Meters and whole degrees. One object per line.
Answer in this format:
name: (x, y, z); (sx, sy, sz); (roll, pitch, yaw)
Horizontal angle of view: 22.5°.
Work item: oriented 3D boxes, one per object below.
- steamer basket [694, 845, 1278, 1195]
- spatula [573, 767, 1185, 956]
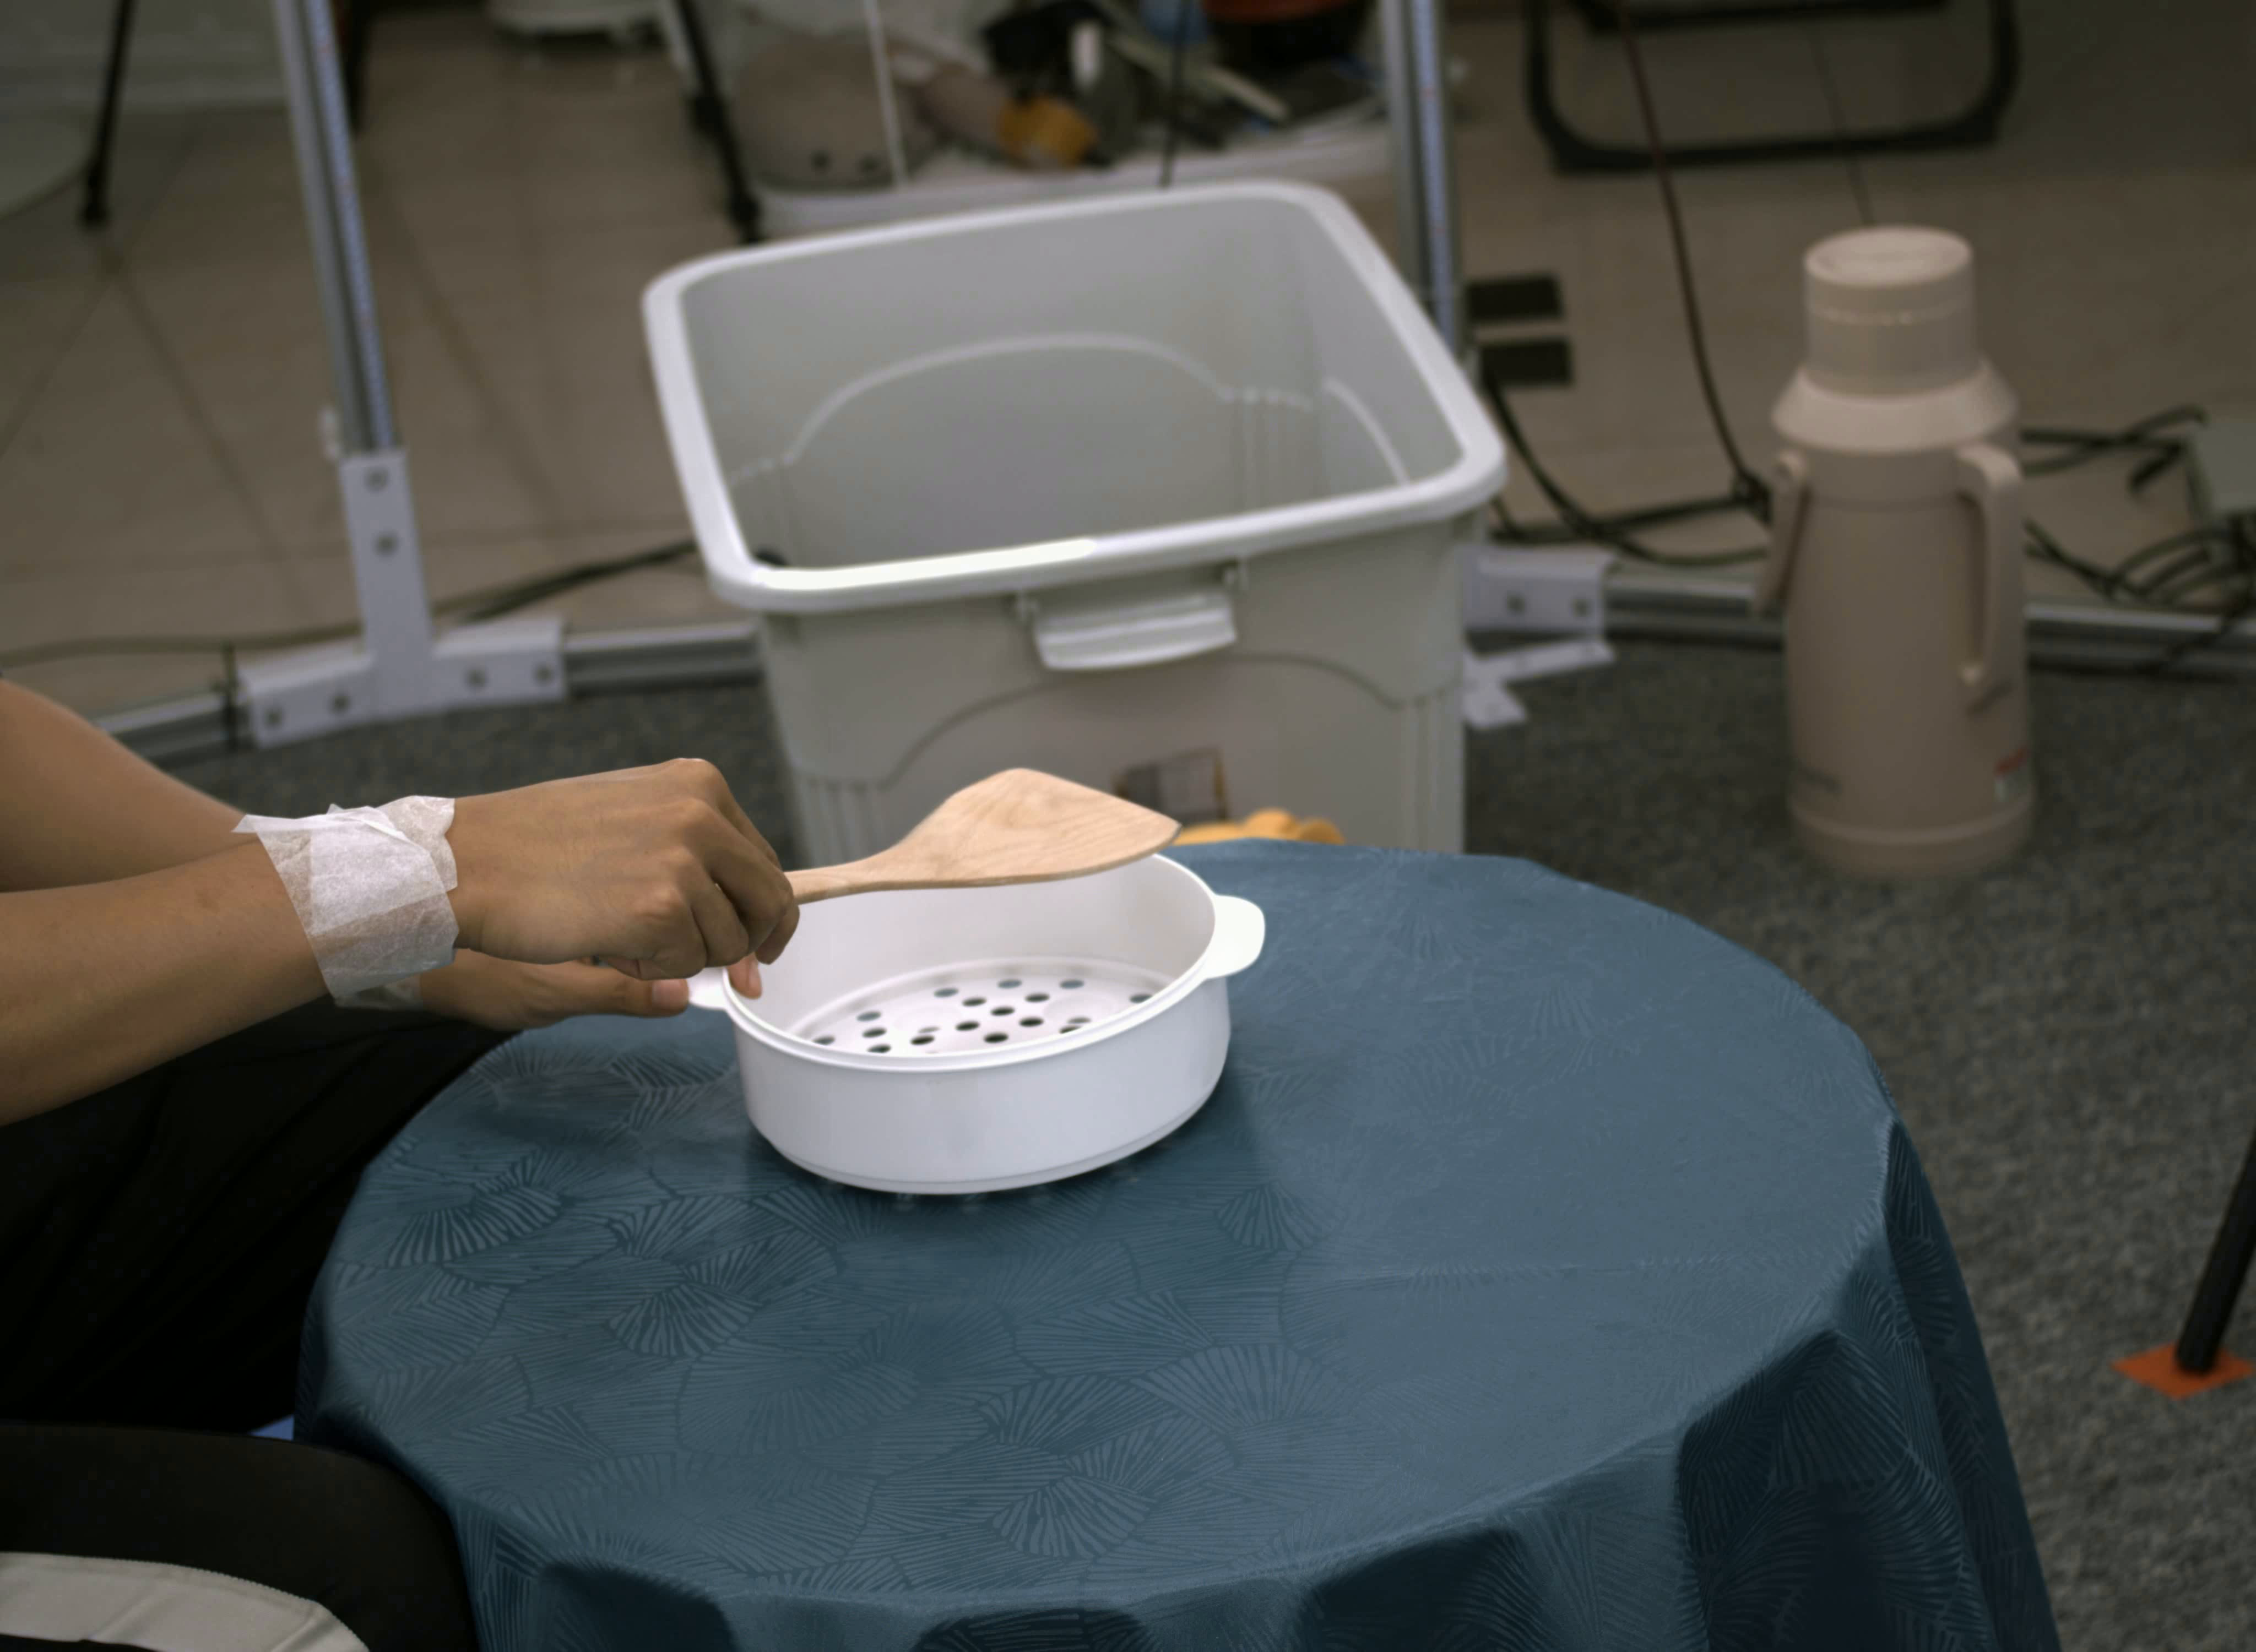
steamer basket: (-0.053, 0.075, 2.223); (0.230, 0.070, 0.199); (-4, 24, 7)
spatula: (-0.097, 0.014, 2.107); (0.079, 0.017, 0.326); (25, 21, 29)
